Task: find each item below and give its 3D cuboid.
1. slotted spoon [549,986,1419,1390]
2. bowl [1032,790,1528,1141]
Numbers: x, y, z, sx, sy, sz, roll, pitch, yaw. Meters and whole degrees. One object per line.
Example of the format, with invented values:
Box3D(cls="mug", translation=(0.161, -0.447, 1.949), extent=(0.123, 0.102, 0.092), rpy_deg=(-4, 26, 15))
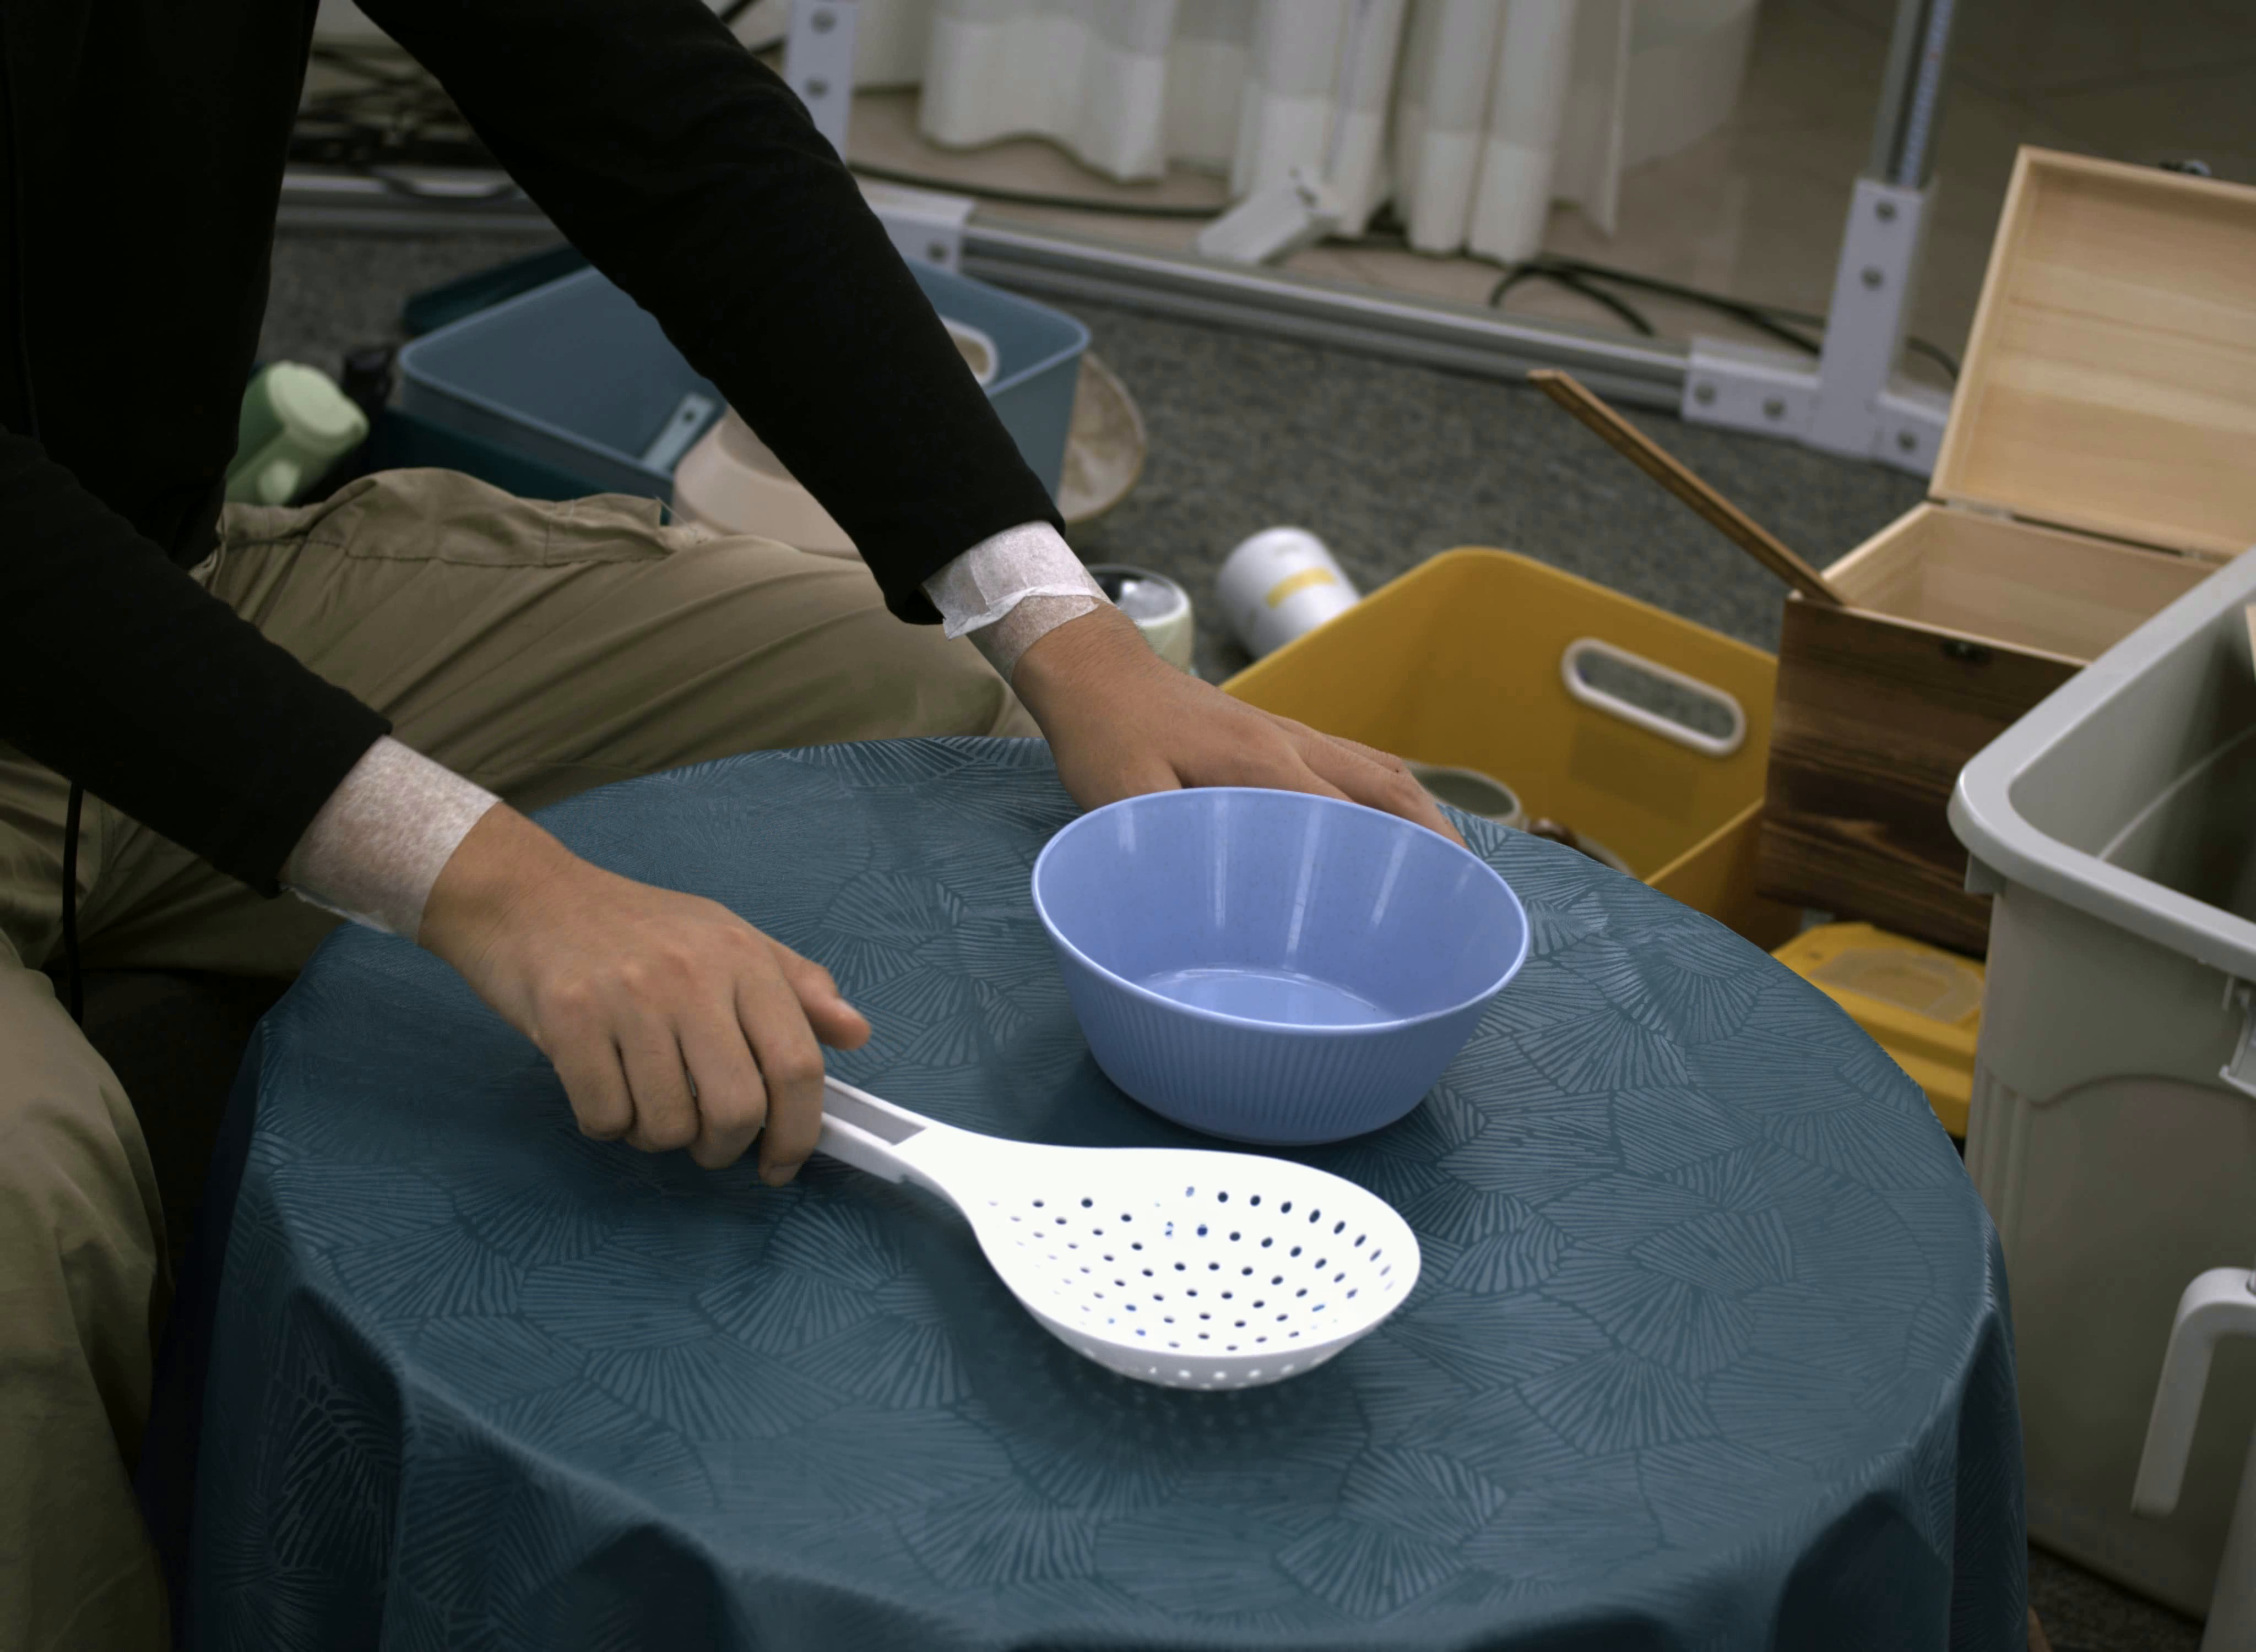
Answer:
Box3D(cls="slotted spoon", translation=(-0.060, 0.112, 1.761), extent=(0.352, 0.045, 0.135), rpy_deg=(24, 33, 32))
Box3D(cls="bowl", translation=(0.050, 0.054, 1.871), extent=(0.175, 0.070, 0.177), rpy_deg=(5, 26, -3))
